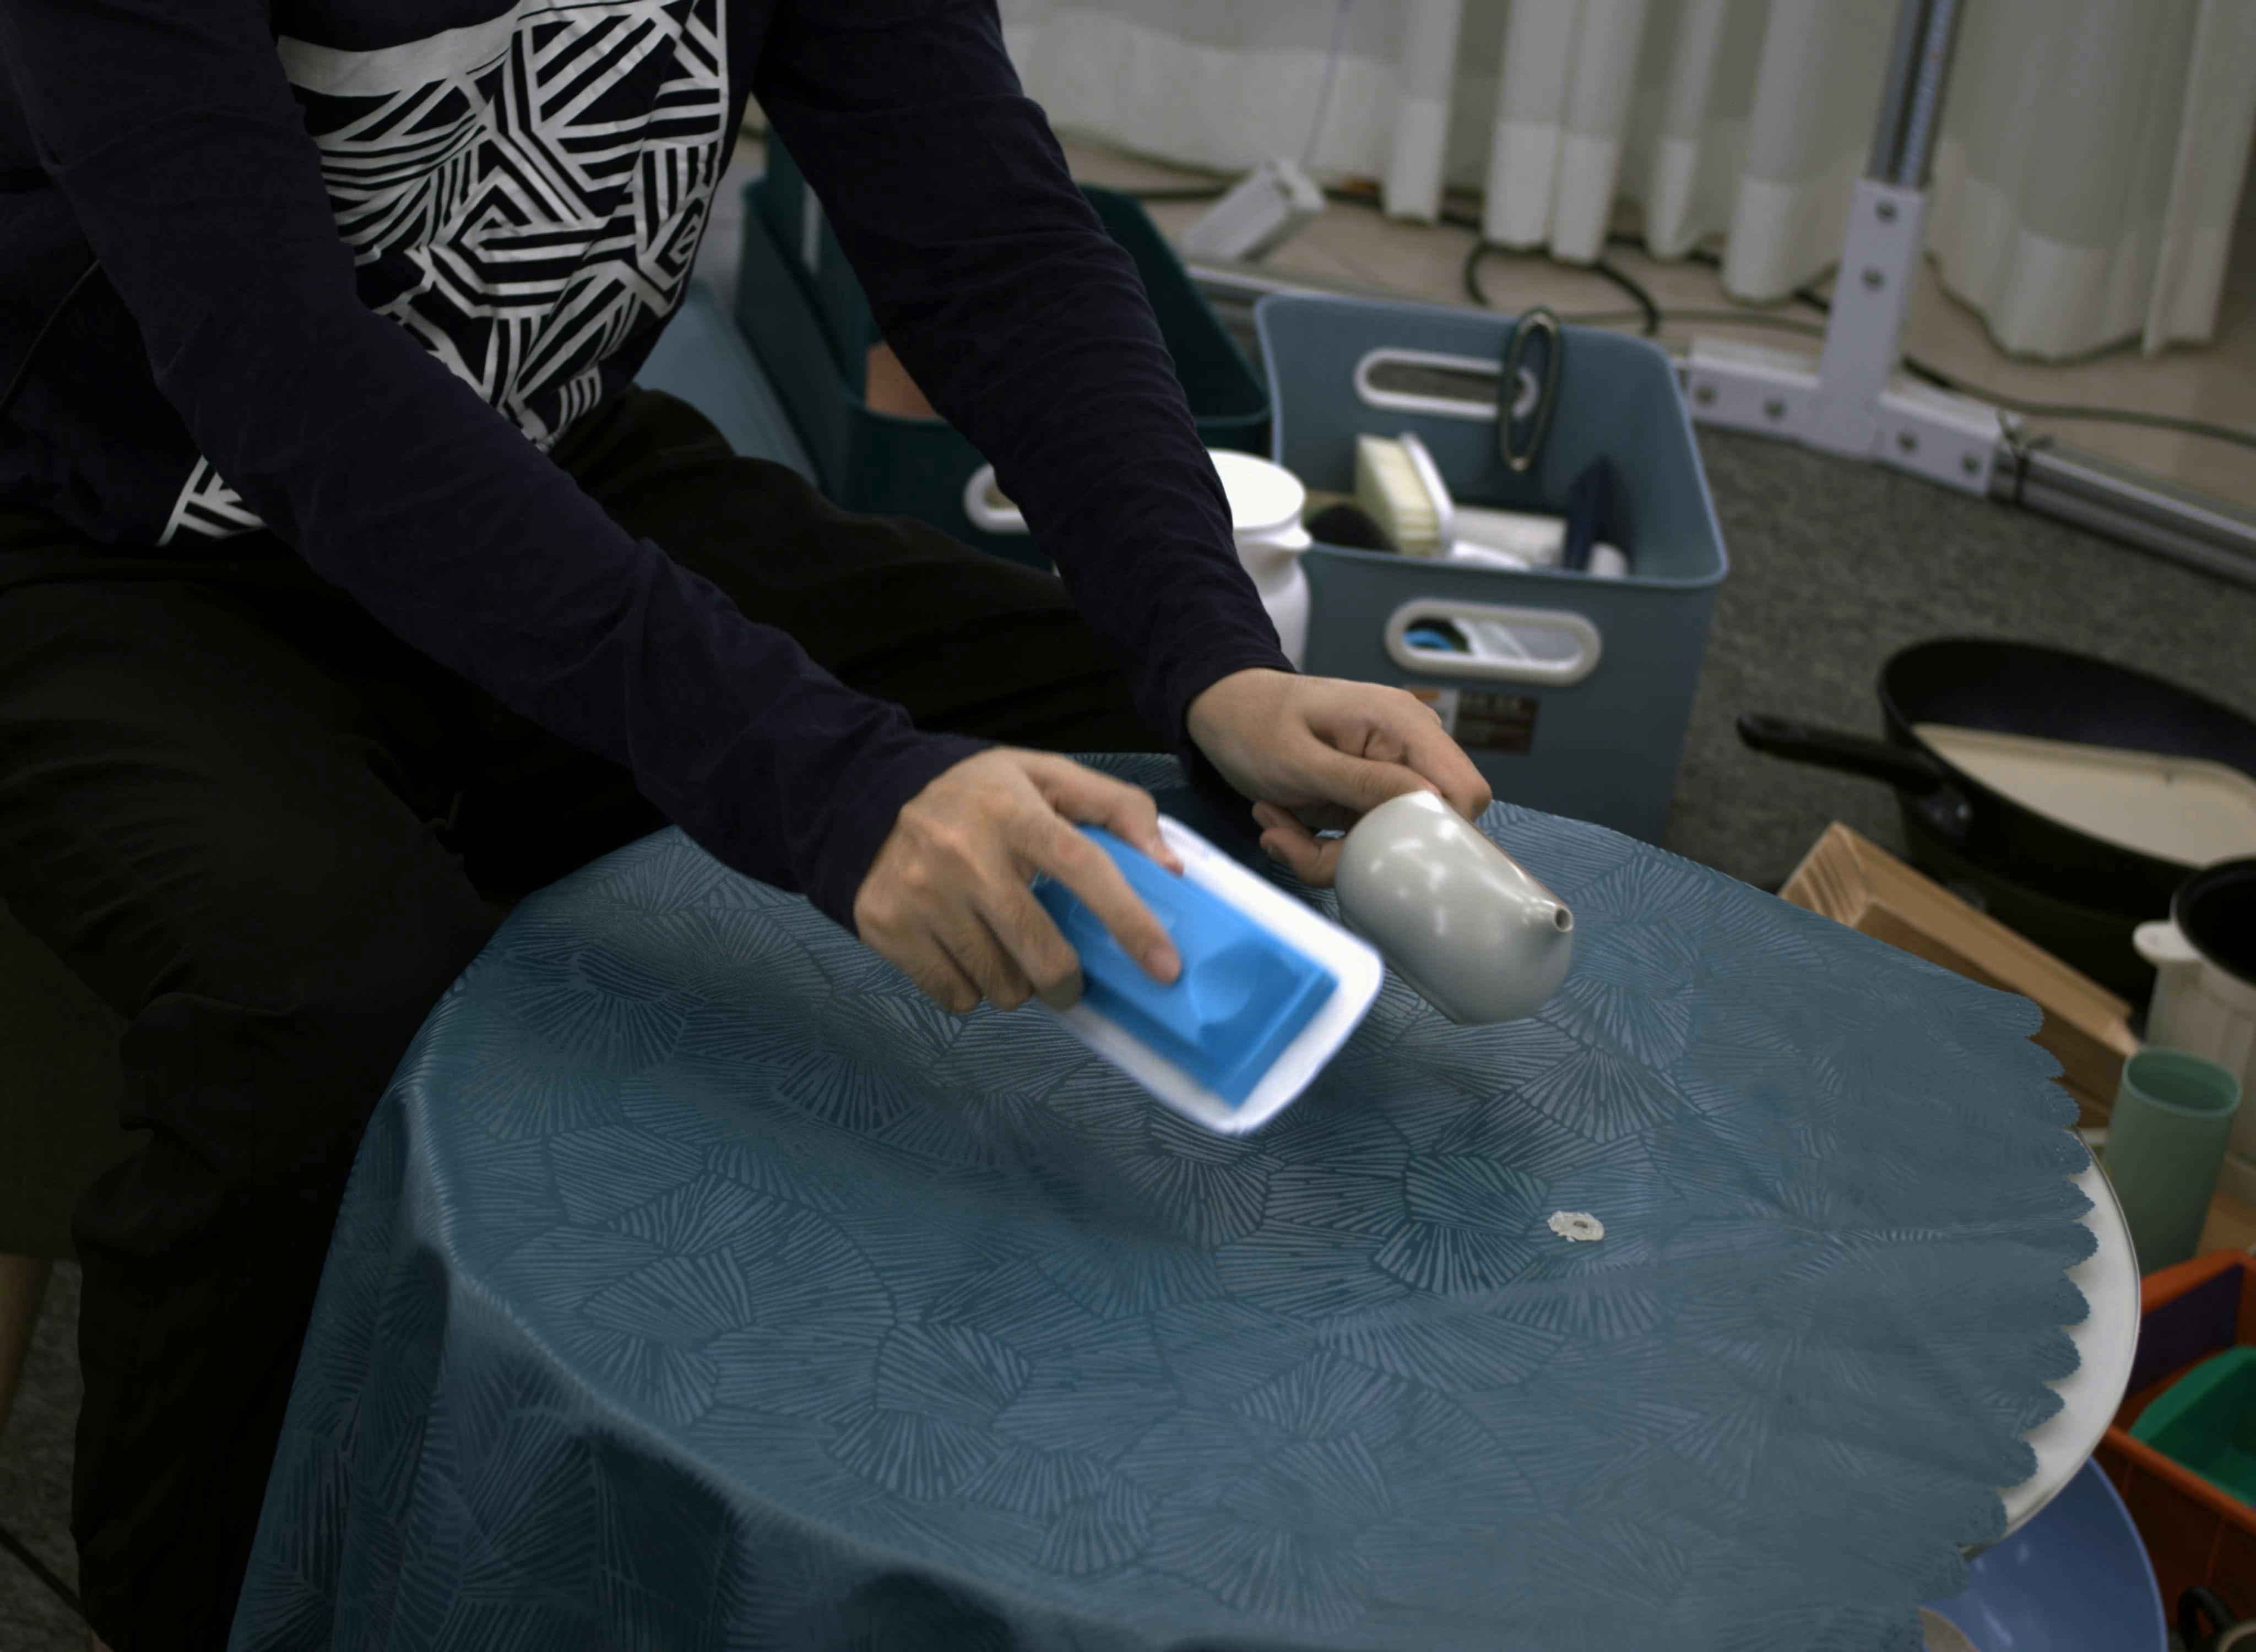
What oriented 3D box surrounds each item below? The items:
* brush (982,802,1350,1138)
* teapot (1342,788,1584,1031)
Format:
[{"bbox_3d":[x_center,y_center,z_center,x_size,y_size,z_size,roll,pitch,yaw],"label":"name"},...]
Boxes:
[{"bbox_3d":[0.006,0.042,1.790,0.084,0.055,0.145,-46,44,-6],"label":"brush"},{"bbox_3d":[0.113,0.027,1.881,0.091,0.059,0.129,35,8,-34],"label":"teapot"}]
